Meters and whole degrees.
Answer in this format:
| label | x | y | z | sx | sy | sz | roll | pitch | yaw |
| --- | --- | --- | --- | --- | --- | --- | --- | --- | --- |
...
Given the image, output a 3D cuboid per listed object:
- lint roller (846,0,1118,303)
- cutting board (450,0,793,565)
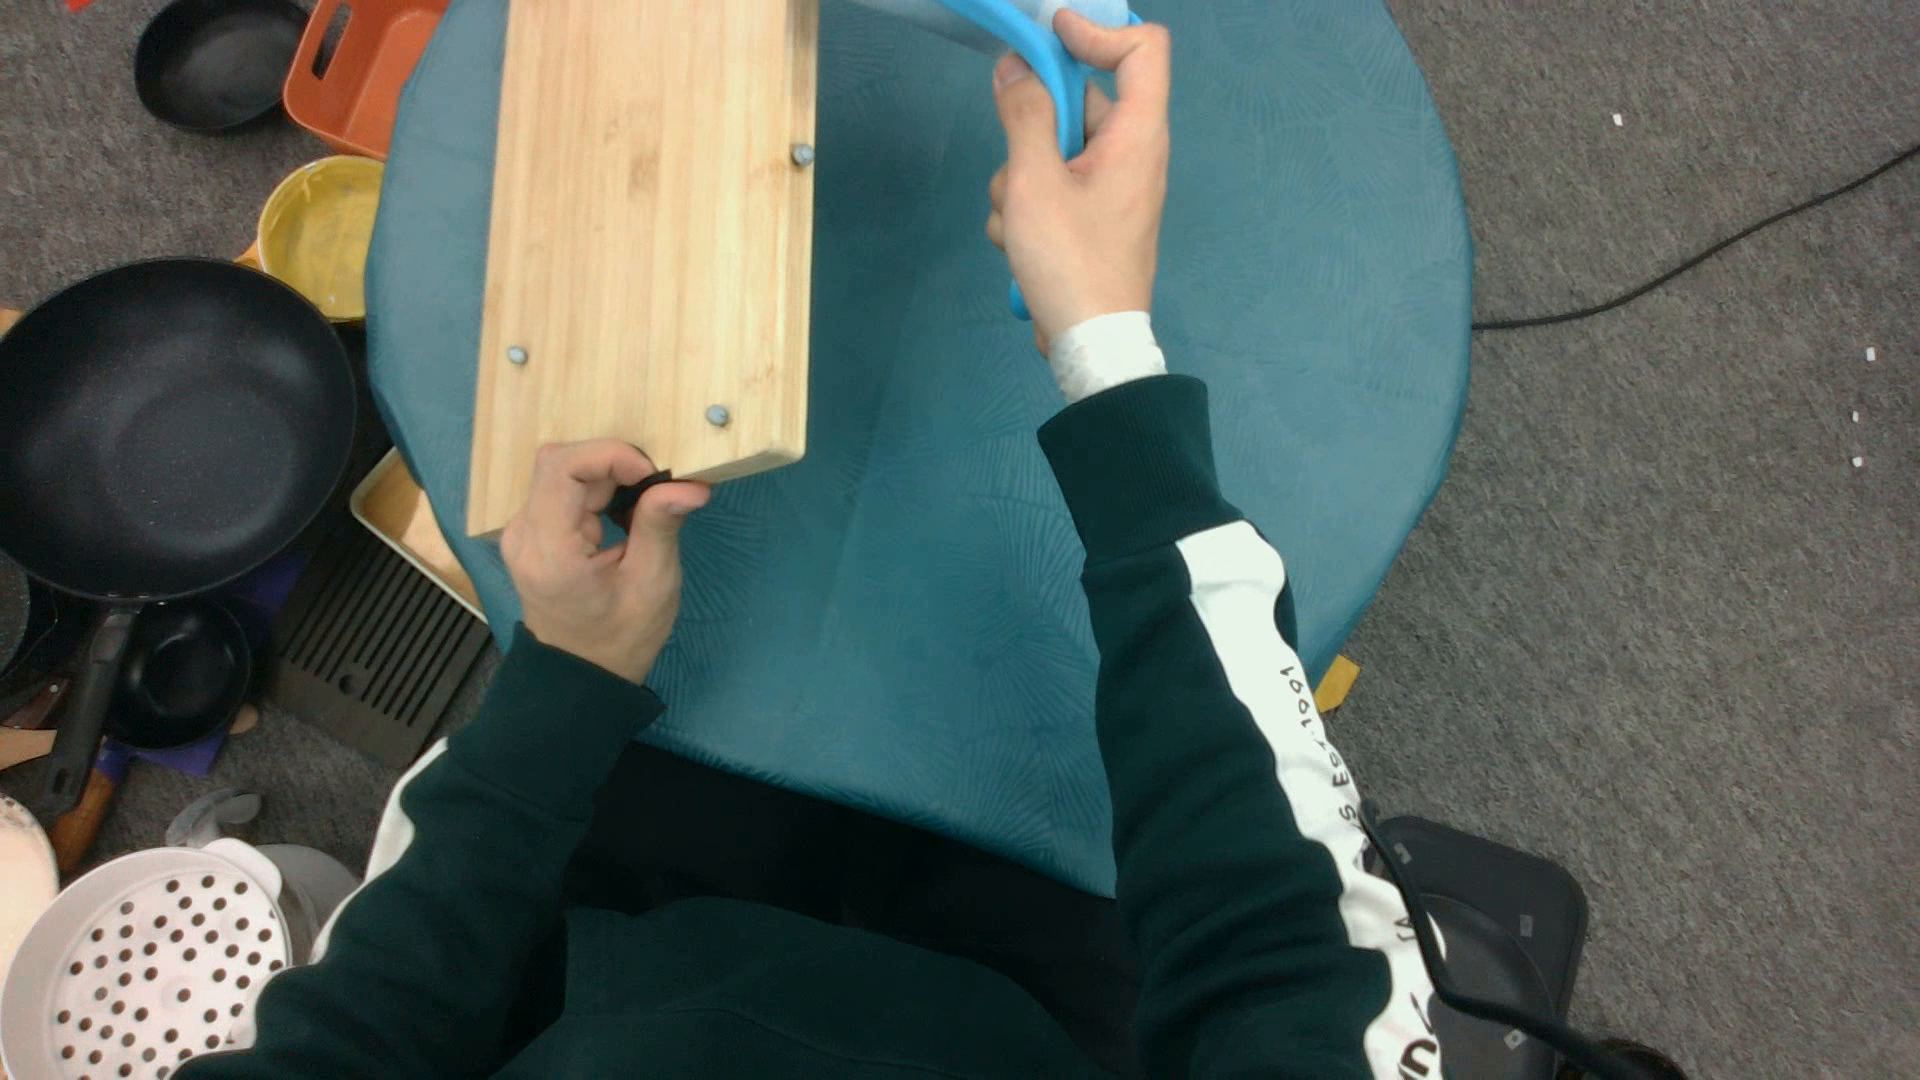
| label | x | y | z | sx | sy | sz | roll | pitch | yaw |
| --- | --- | --- | --- | --- | --- | --- | --- | --- | --- |
| lint roller | 0.008 | -0.197 | 0.595 | 0.067 | 0.229 | 0.180 | -26 | 81 | 34 |
| cutting board | -0.162 | -0.176 | 0.641 | 0.023 | 0.250 | 0.349 | 11 | 71 | -46 |
